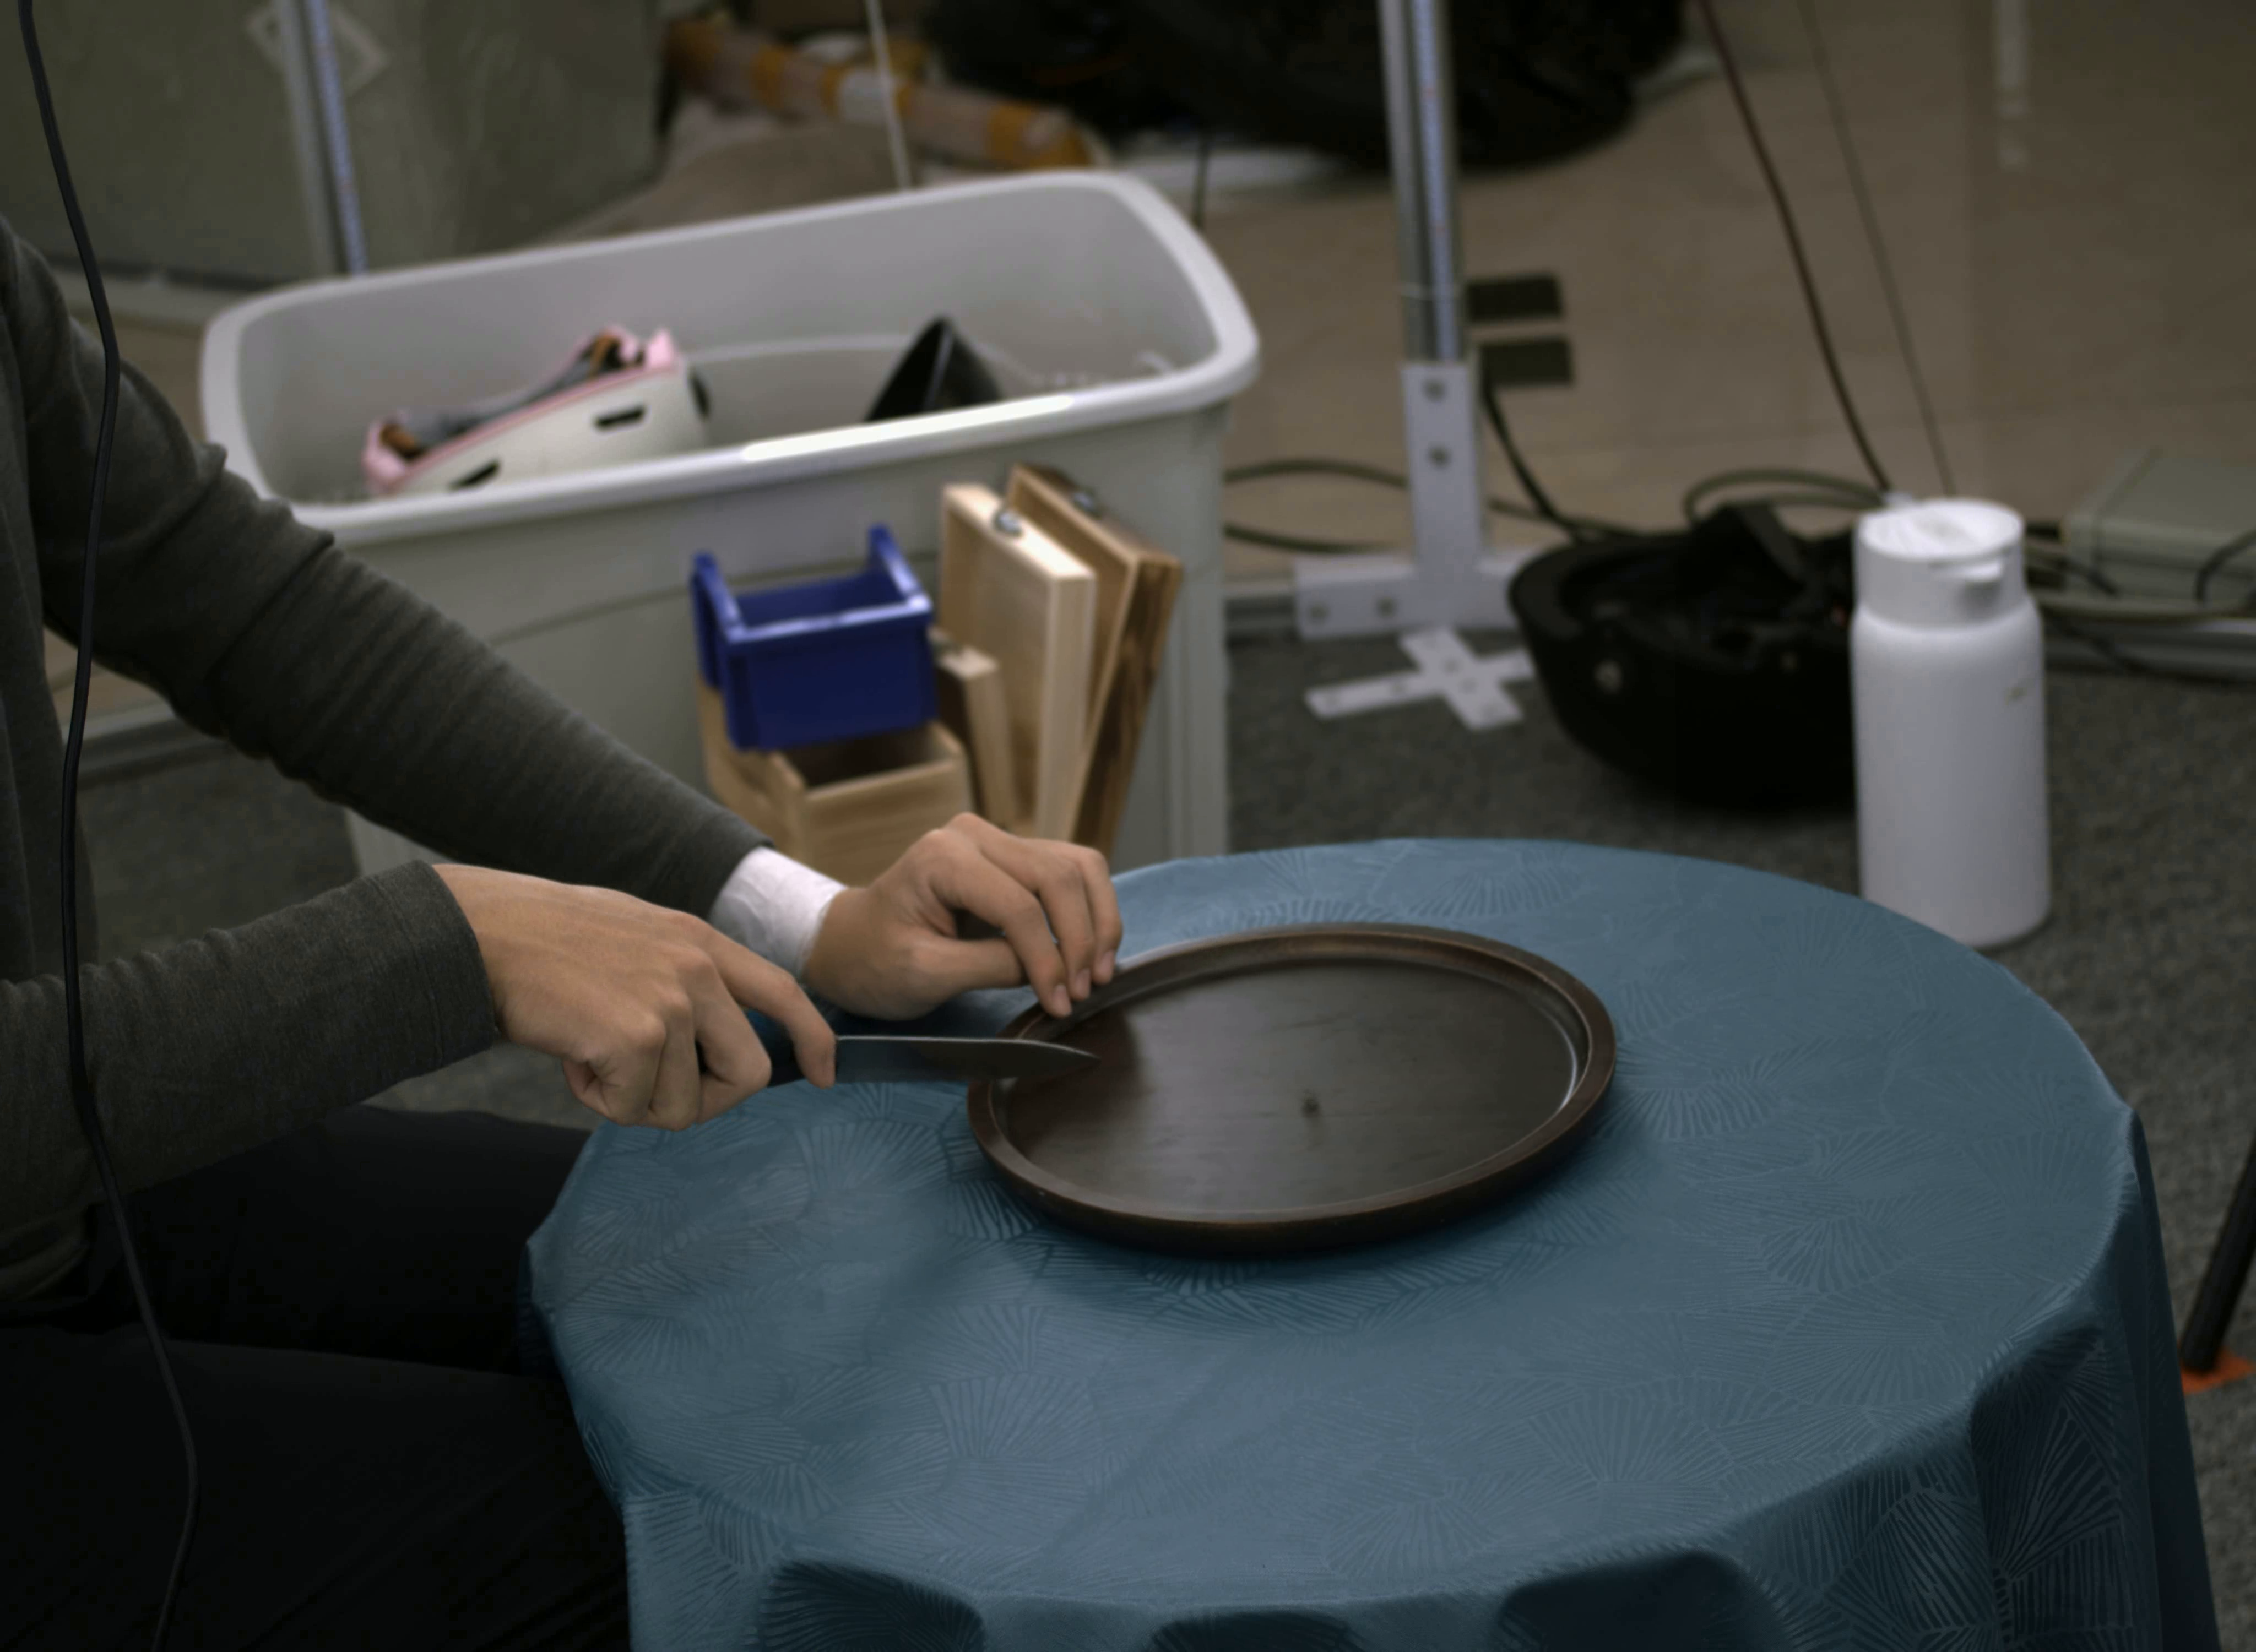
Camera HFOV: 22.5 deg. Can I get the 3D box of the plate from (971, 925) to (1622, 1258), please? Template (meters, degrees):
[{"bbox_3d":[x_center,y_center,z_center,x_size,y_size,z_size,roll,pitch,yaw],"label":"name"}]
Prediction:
[{"bbox_3d":[0.065,0.101,2.191,0.254,0.029,0.251,-4,24,2],"label":"plate"}]

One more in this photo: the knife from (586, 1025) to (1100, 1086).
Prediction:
[{"bbox_3d":[-0.103,0.088,2.154,0.238,0.025,0.016,3,32,-39],"label":"knife"}]
